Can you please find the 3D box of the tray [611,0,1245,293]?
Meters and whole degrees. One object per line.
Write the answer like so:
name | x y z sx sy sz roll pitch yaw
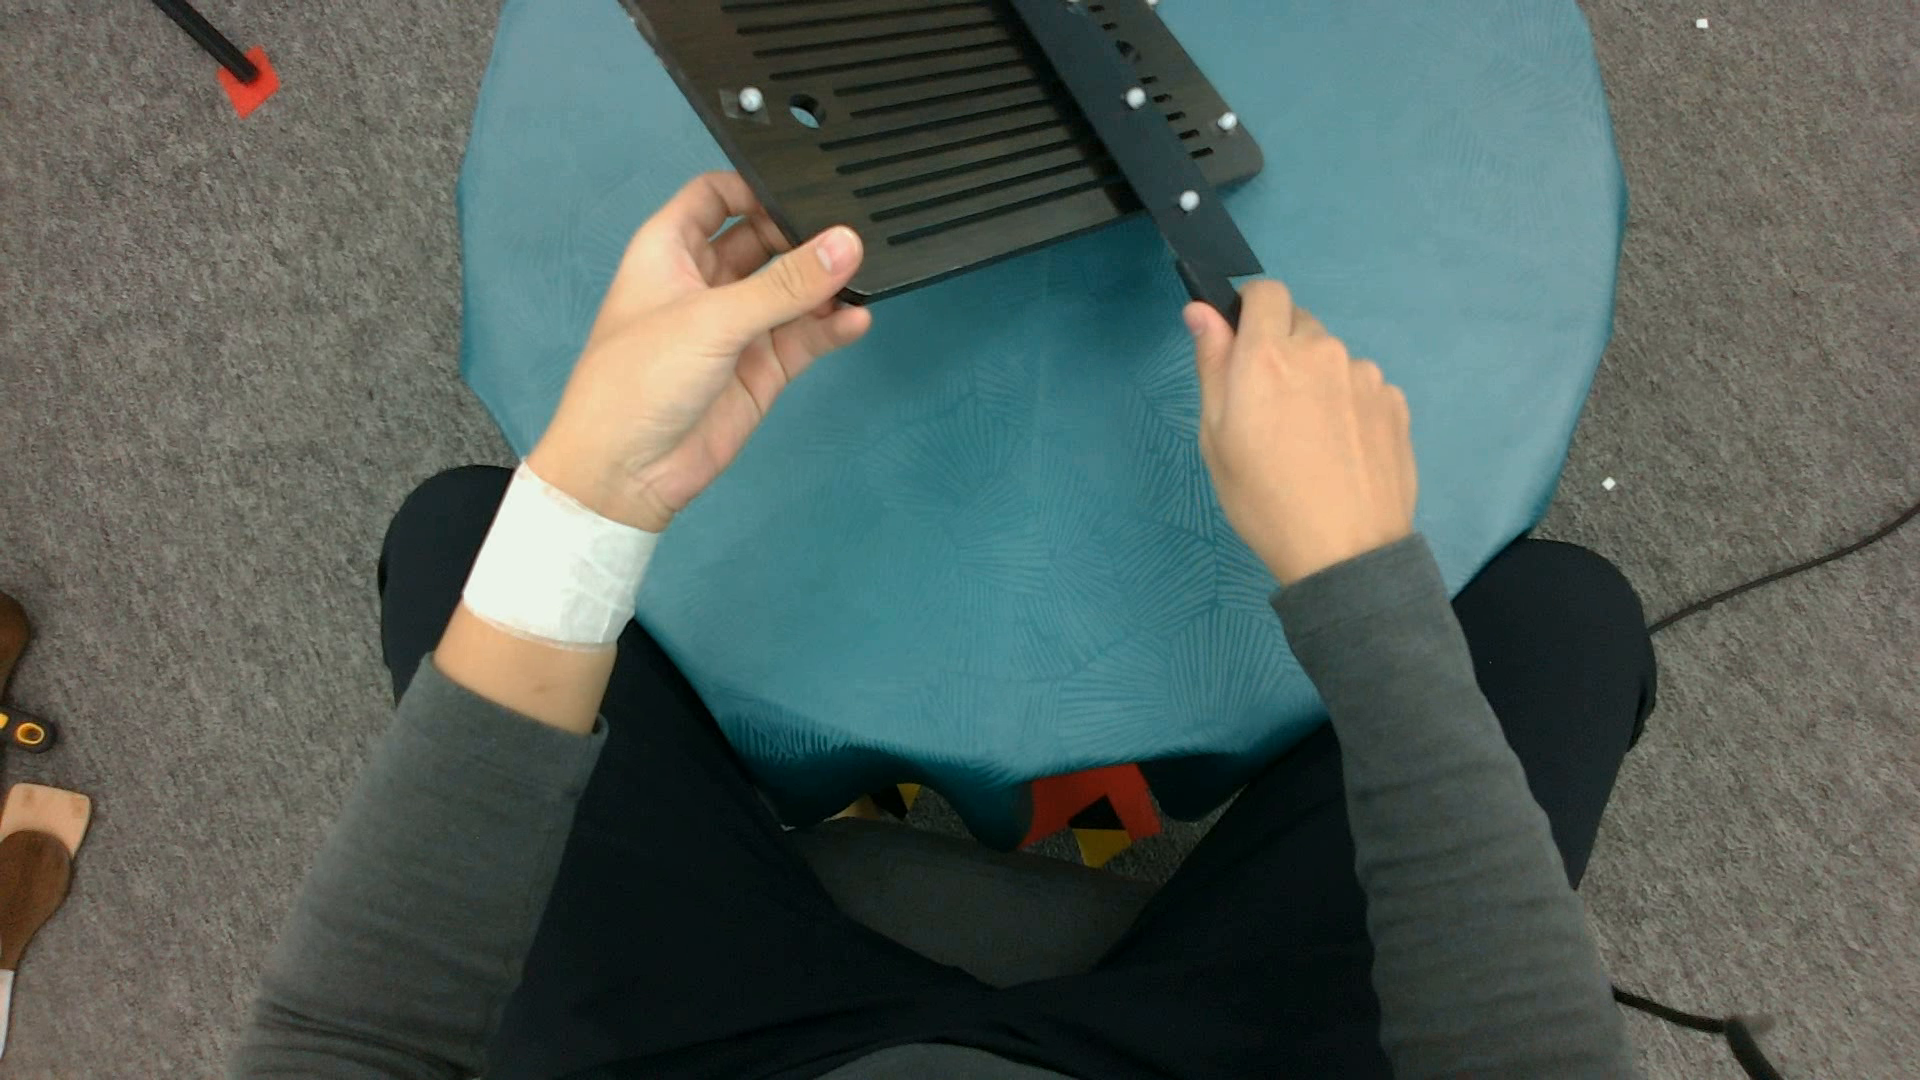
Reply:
tray | 0.001 -0.209 0.623 0.307 0.018 0.170 -28 79 -42

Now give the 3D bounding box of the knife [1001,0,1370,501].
knife | 0.101 -0.148 0.632 0.021 0.081 0.303 -41 68 39
